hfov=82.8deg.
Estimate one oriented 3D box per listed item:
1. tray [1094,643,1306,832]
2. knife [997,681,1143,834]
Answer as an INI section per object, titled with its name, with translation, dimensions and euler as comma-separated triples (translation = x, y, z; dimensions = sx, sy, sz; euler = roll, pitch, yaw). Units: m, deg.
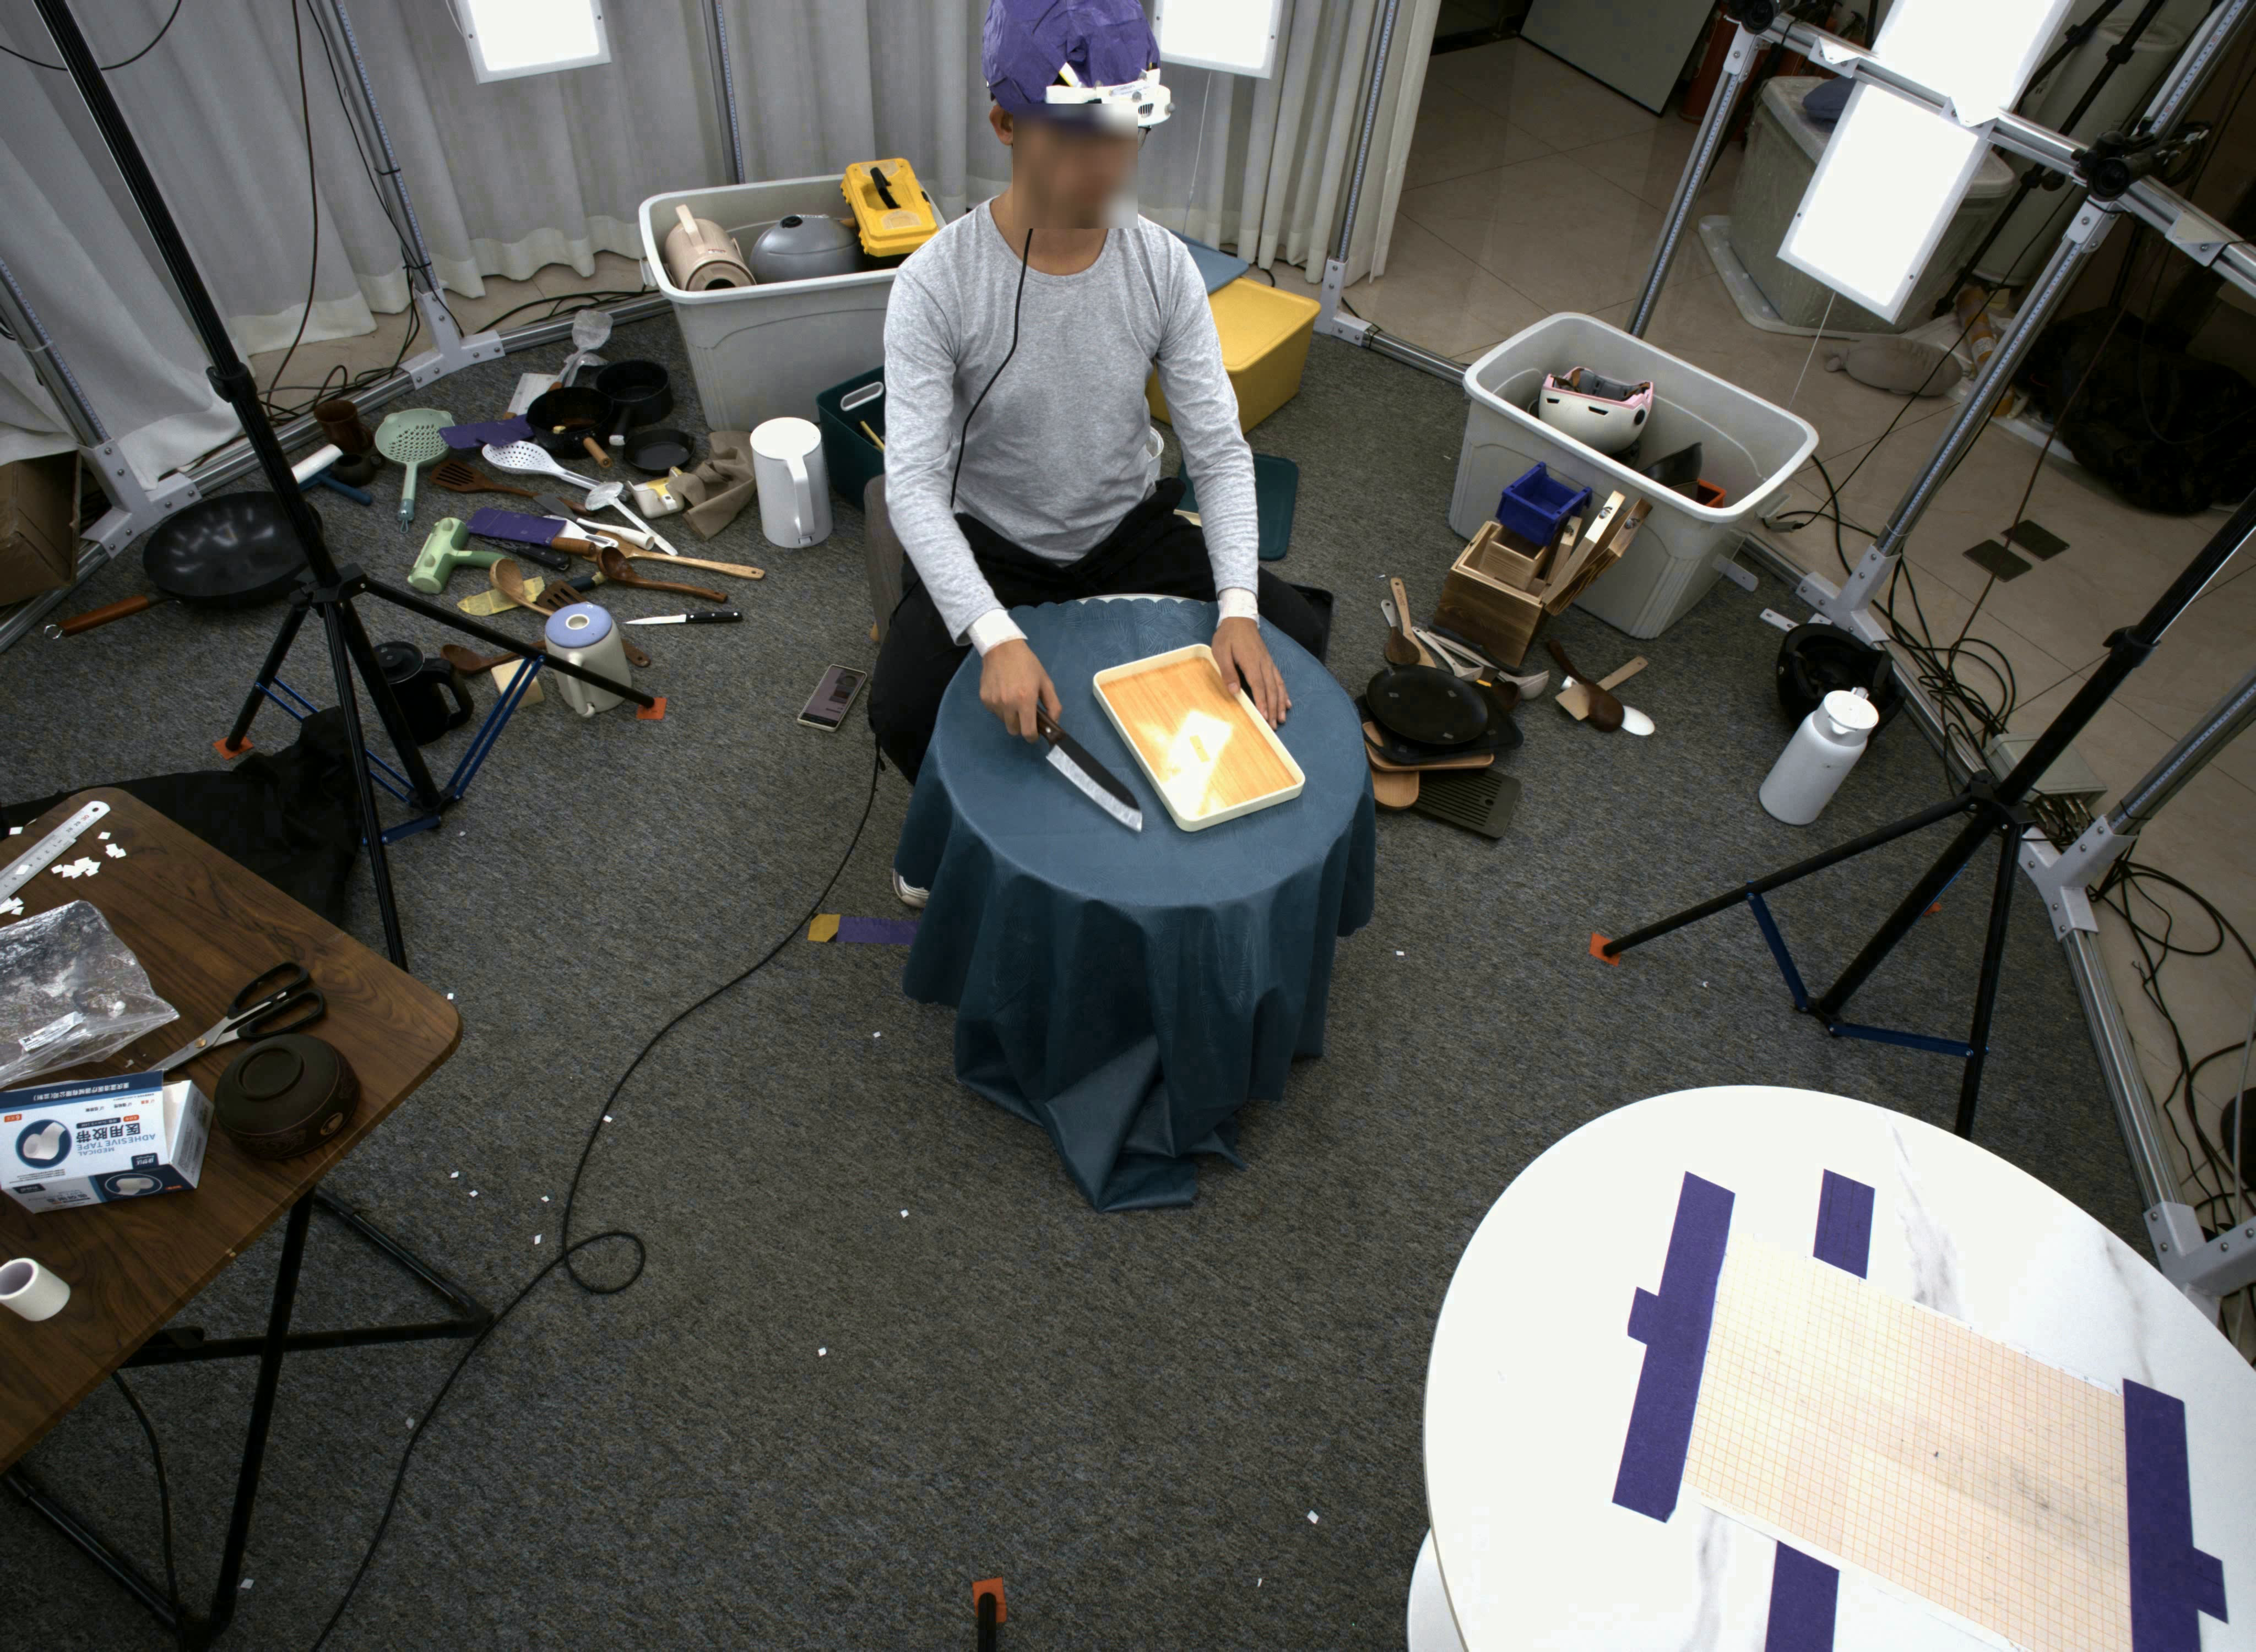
[tray]
translation = 0.094, -0.129, 1.769
dimensions = 0.192, 0.027, 0.307
euler = -18, 52, -18
[knife]
translation = -0.078, -0.092, 1.695
dimensions = 0.293, 0.050, 0.020
euler = 46, 17, 19
